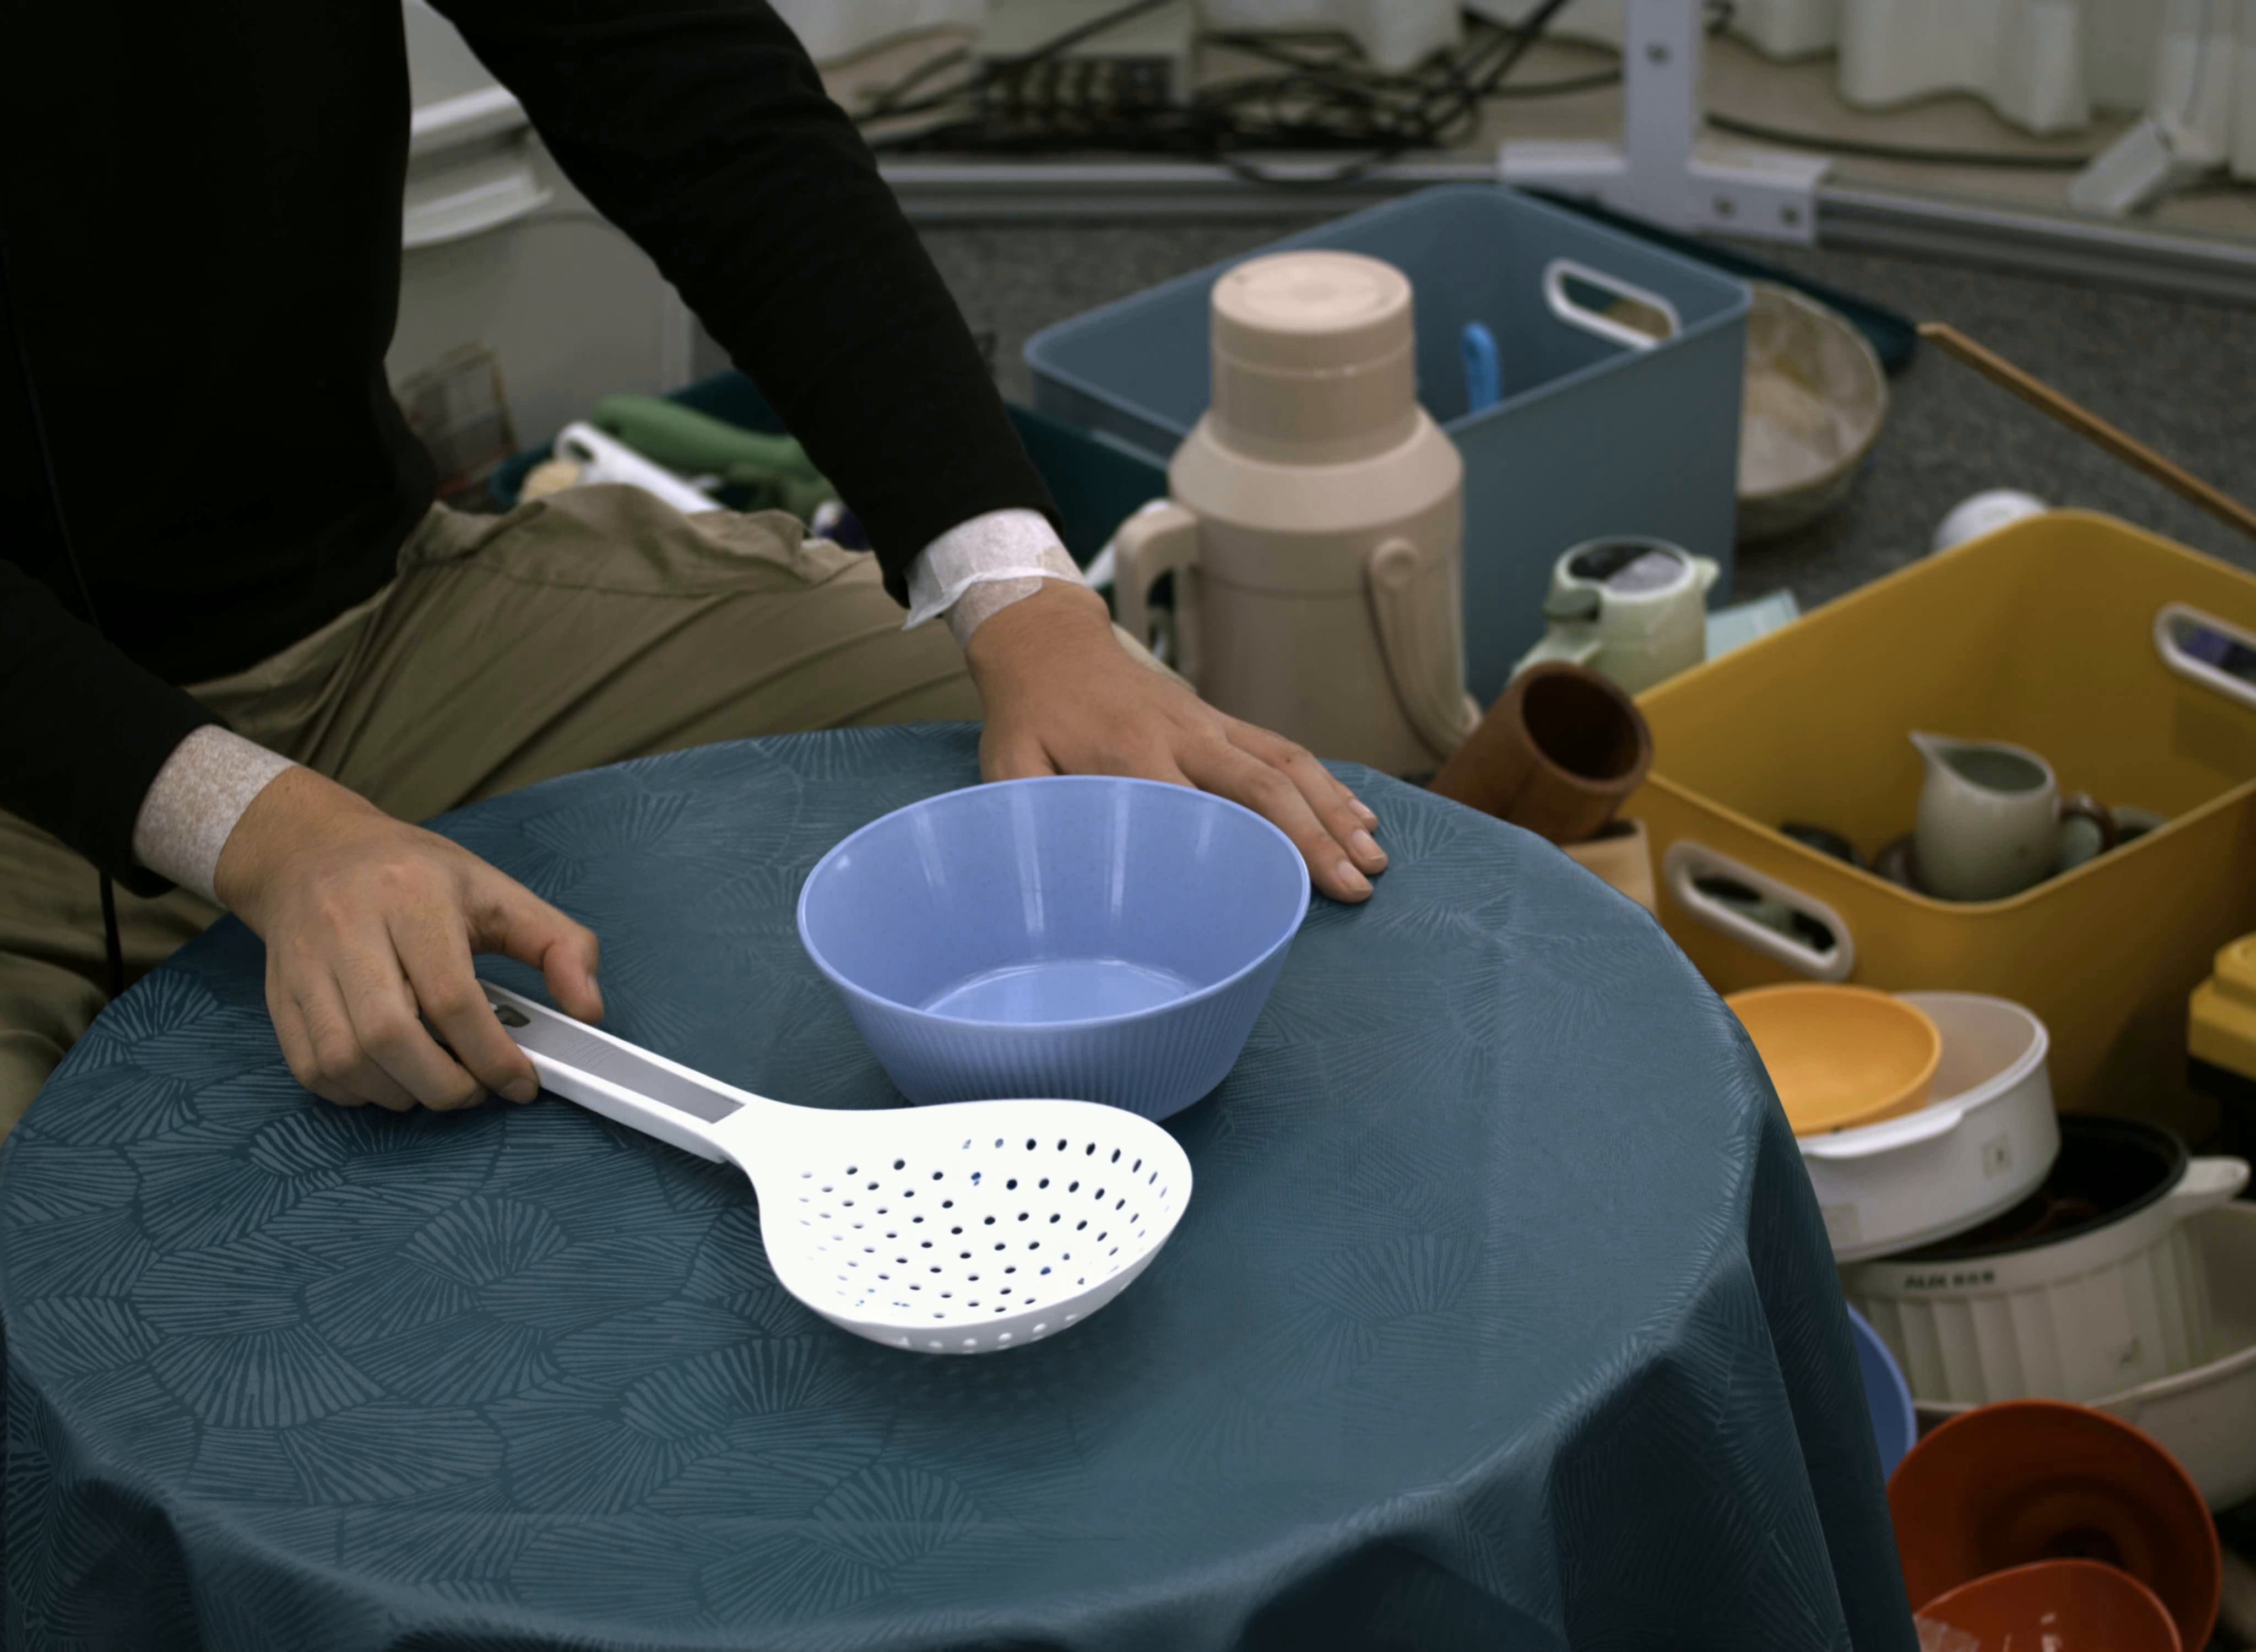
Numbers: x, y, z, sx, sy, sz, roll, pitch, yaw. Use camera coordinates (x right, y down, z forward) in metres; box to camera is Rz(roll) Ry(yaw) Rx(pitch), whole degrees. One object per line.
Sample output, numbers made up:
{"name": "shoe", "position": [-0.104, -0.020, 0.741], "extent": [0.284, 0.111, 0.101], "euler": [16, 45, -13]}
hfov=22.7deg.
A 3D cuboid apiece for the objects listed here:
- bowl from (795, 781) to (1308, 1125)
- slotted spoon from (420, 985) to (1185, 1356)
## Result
{"name": "bowl", "position": [-0.024, 0.052, 1.924], "extent": [0.175, 0.069, 0.179], "euler": [-3, 26, 2]}
{"name": "slotted spoon", "position": [-0.121, 0.105, 1.856], "extent": [0.349, 0.045, 0.138], "euler": [22, 42, 41]}
